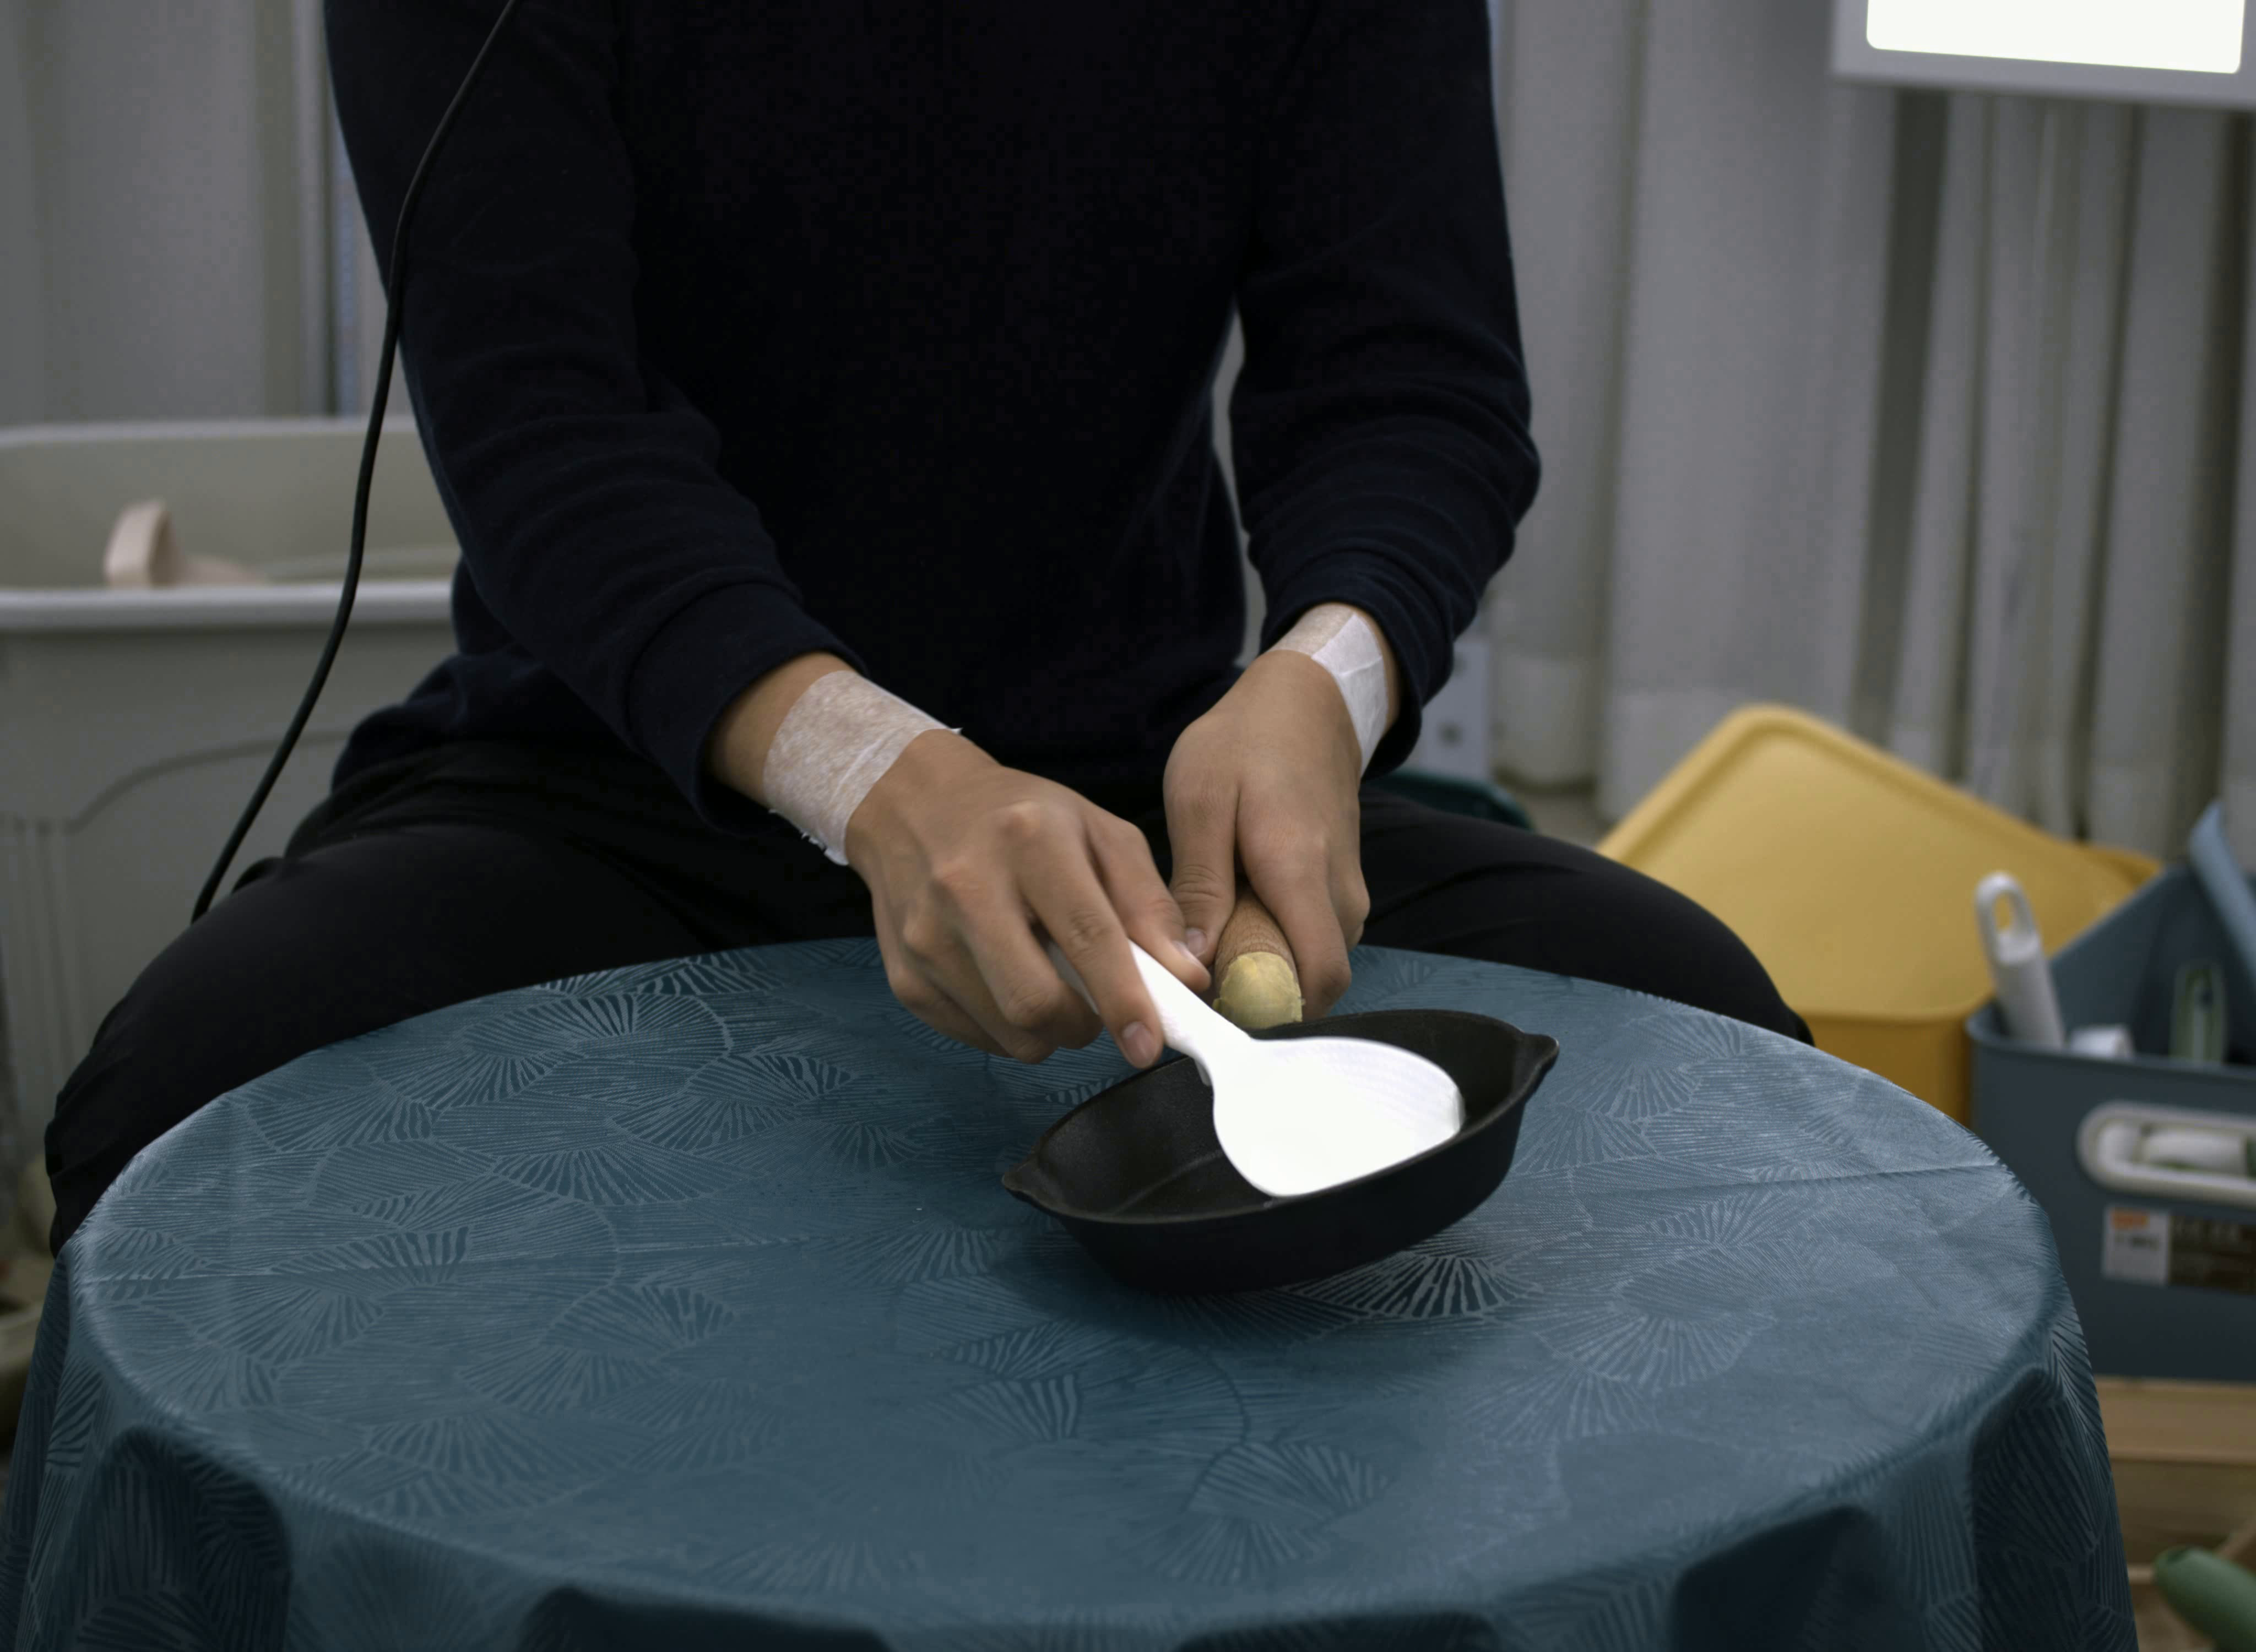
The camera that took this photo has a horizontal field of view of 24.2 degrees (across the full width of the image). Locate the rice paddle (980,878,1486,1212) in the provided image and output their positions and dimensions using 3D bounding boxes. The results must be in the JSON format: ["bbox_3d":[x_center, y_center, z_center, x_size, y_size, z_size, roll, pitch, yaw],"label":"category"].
[{"bbox_3d":[0.031,0.067,1.588,0.069,0.030,0.202,-35,43,-25],"label":"rice paddle"}]

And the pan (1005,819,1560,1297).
[{"bbox_3d":[0.046,0.067,1.640,0.168,0.050,0.322,-12,17,3],"label":"pan"}]
